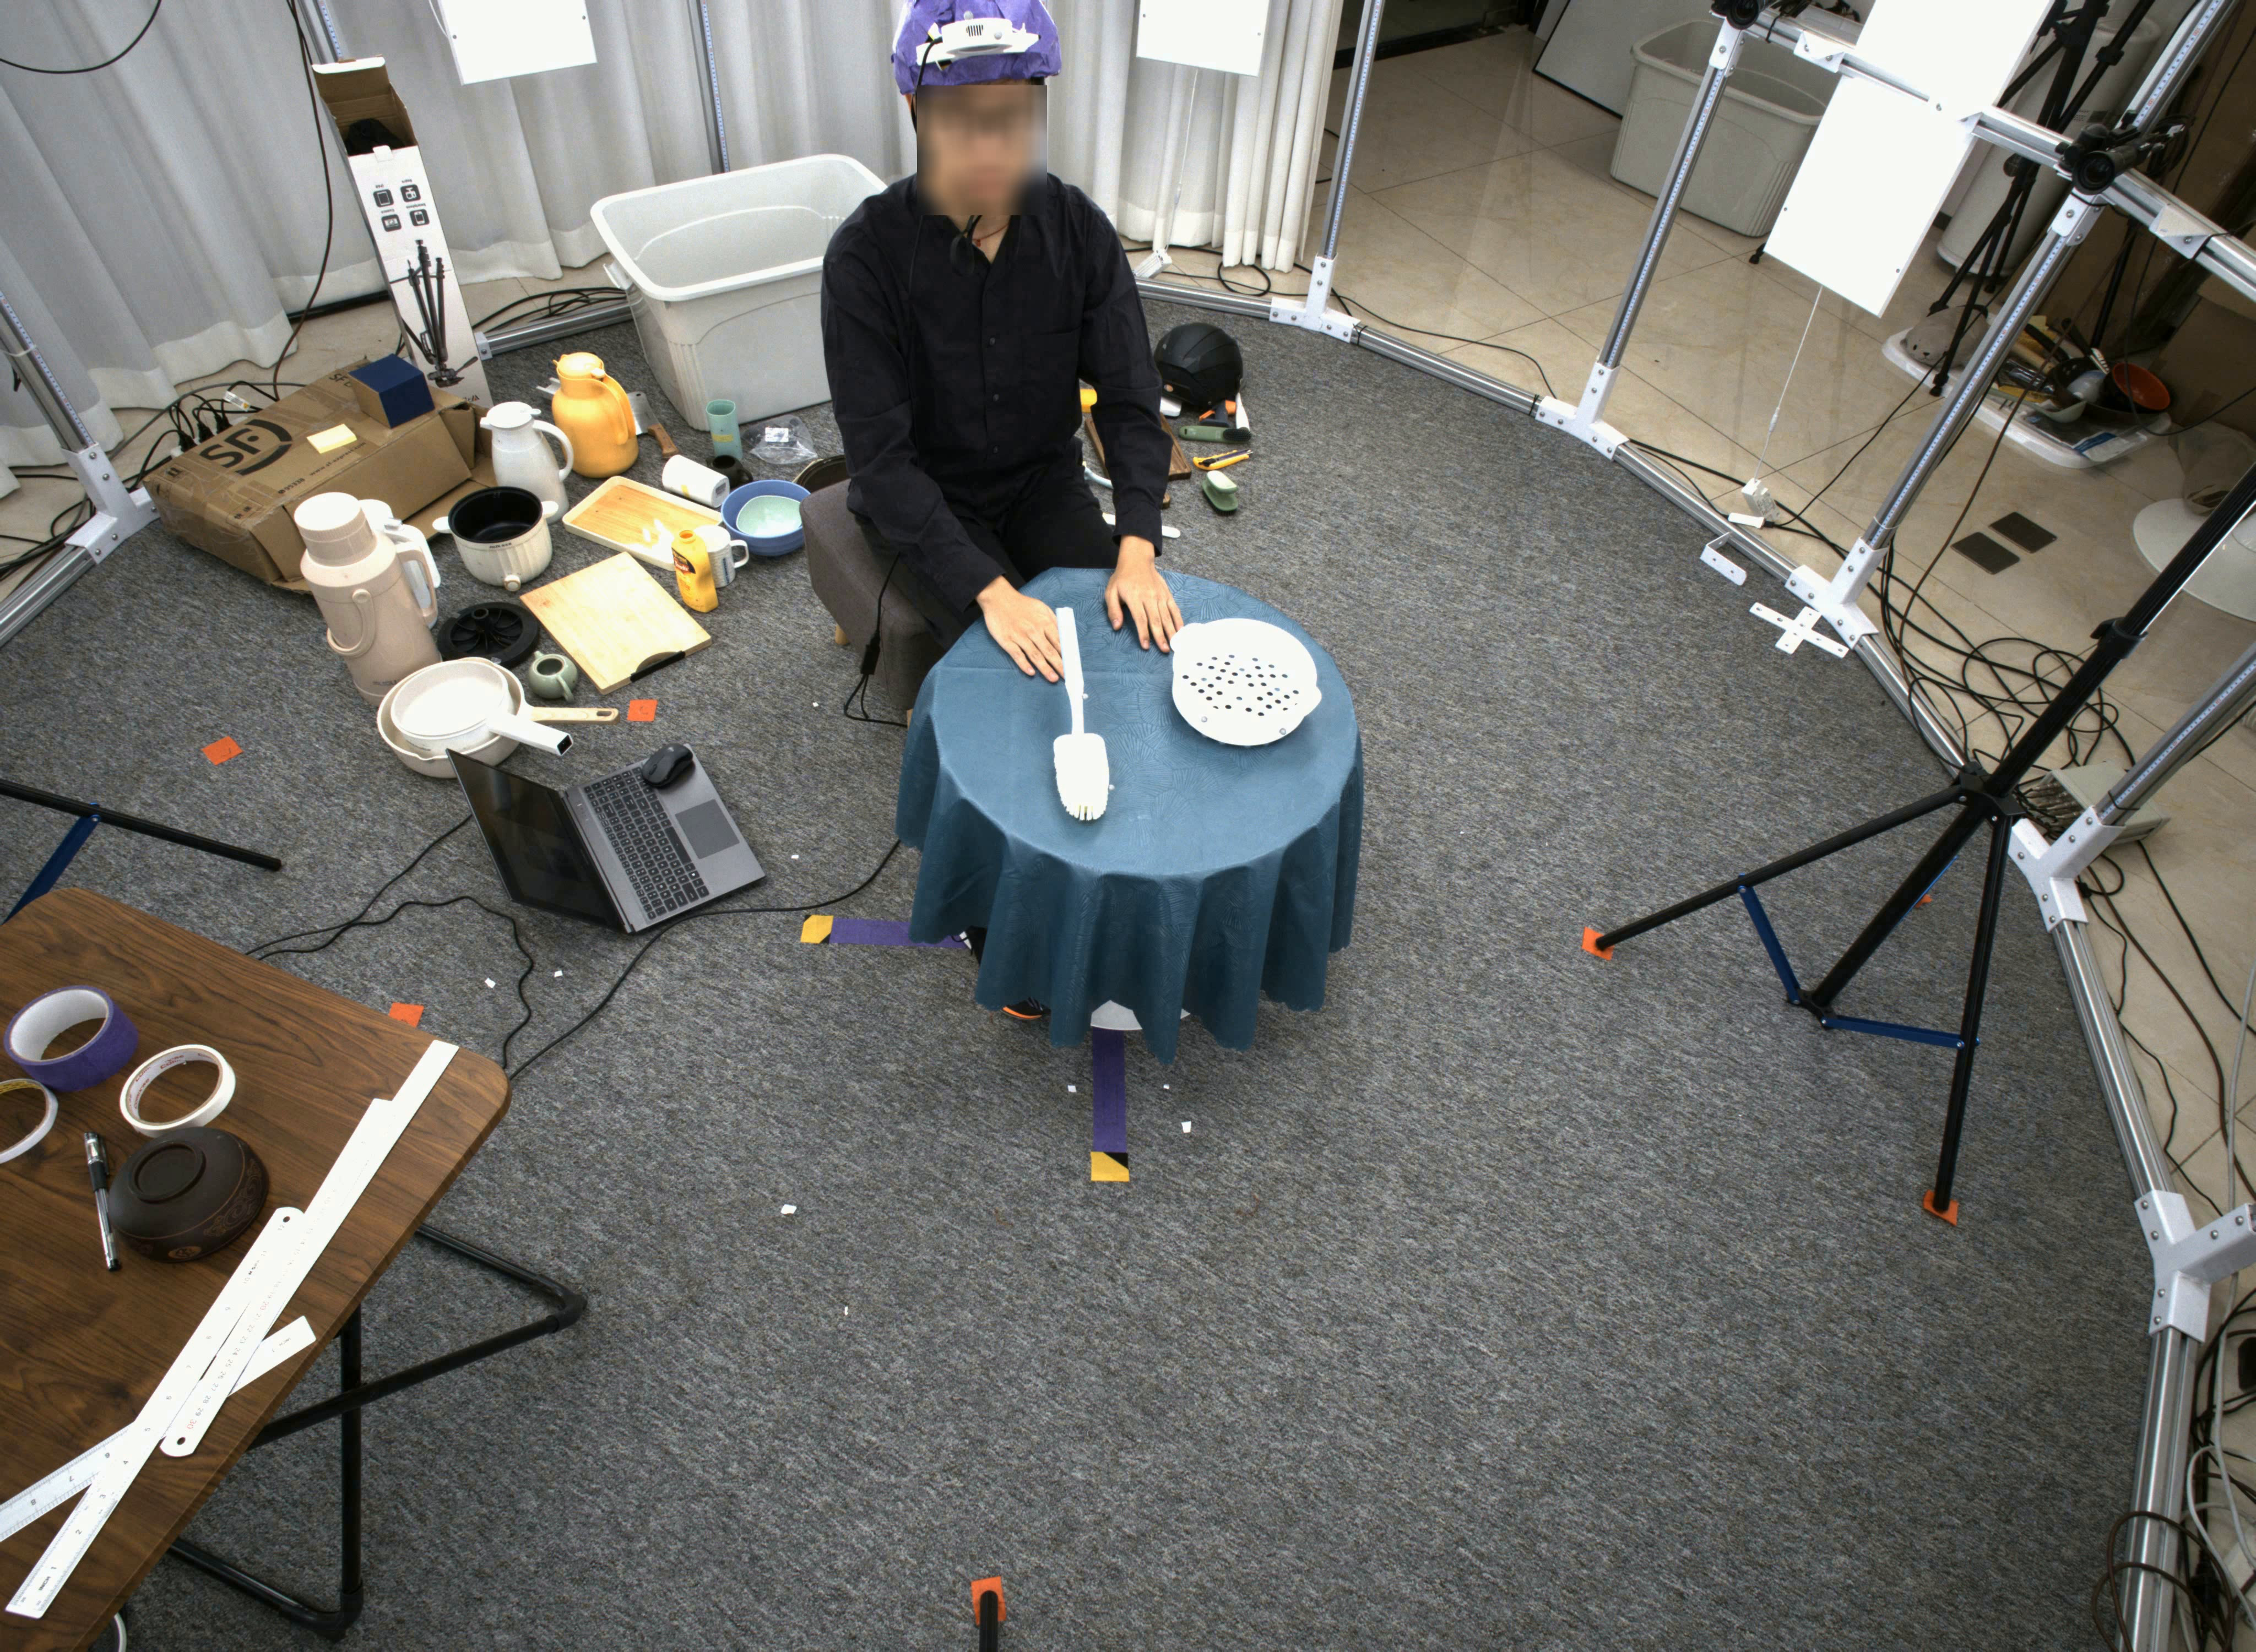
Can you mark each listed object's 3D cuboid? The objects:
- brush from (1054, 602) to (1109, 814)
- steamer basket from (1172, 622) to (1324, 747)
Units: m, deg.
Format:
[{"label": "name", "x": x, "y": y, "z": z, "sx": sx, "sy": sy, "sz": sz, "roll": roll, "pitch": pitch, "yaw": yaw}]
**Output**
[{"label": "brush", "x": -0.068, "y": -0.157, "z": 1.746, "sx": 0.082, "sy": 0.084, "sz": 0.332, "roll": 18, "pitch": 52, "yaw": -39}, {"label": "steamer basket", "x": 0.164, "y": -0.199, "z": 1.811, "sx": 0.233, "sy": 0.067, "sz": 0.204, "roll": 32, "pitch": 54, "yaw": 21}]
